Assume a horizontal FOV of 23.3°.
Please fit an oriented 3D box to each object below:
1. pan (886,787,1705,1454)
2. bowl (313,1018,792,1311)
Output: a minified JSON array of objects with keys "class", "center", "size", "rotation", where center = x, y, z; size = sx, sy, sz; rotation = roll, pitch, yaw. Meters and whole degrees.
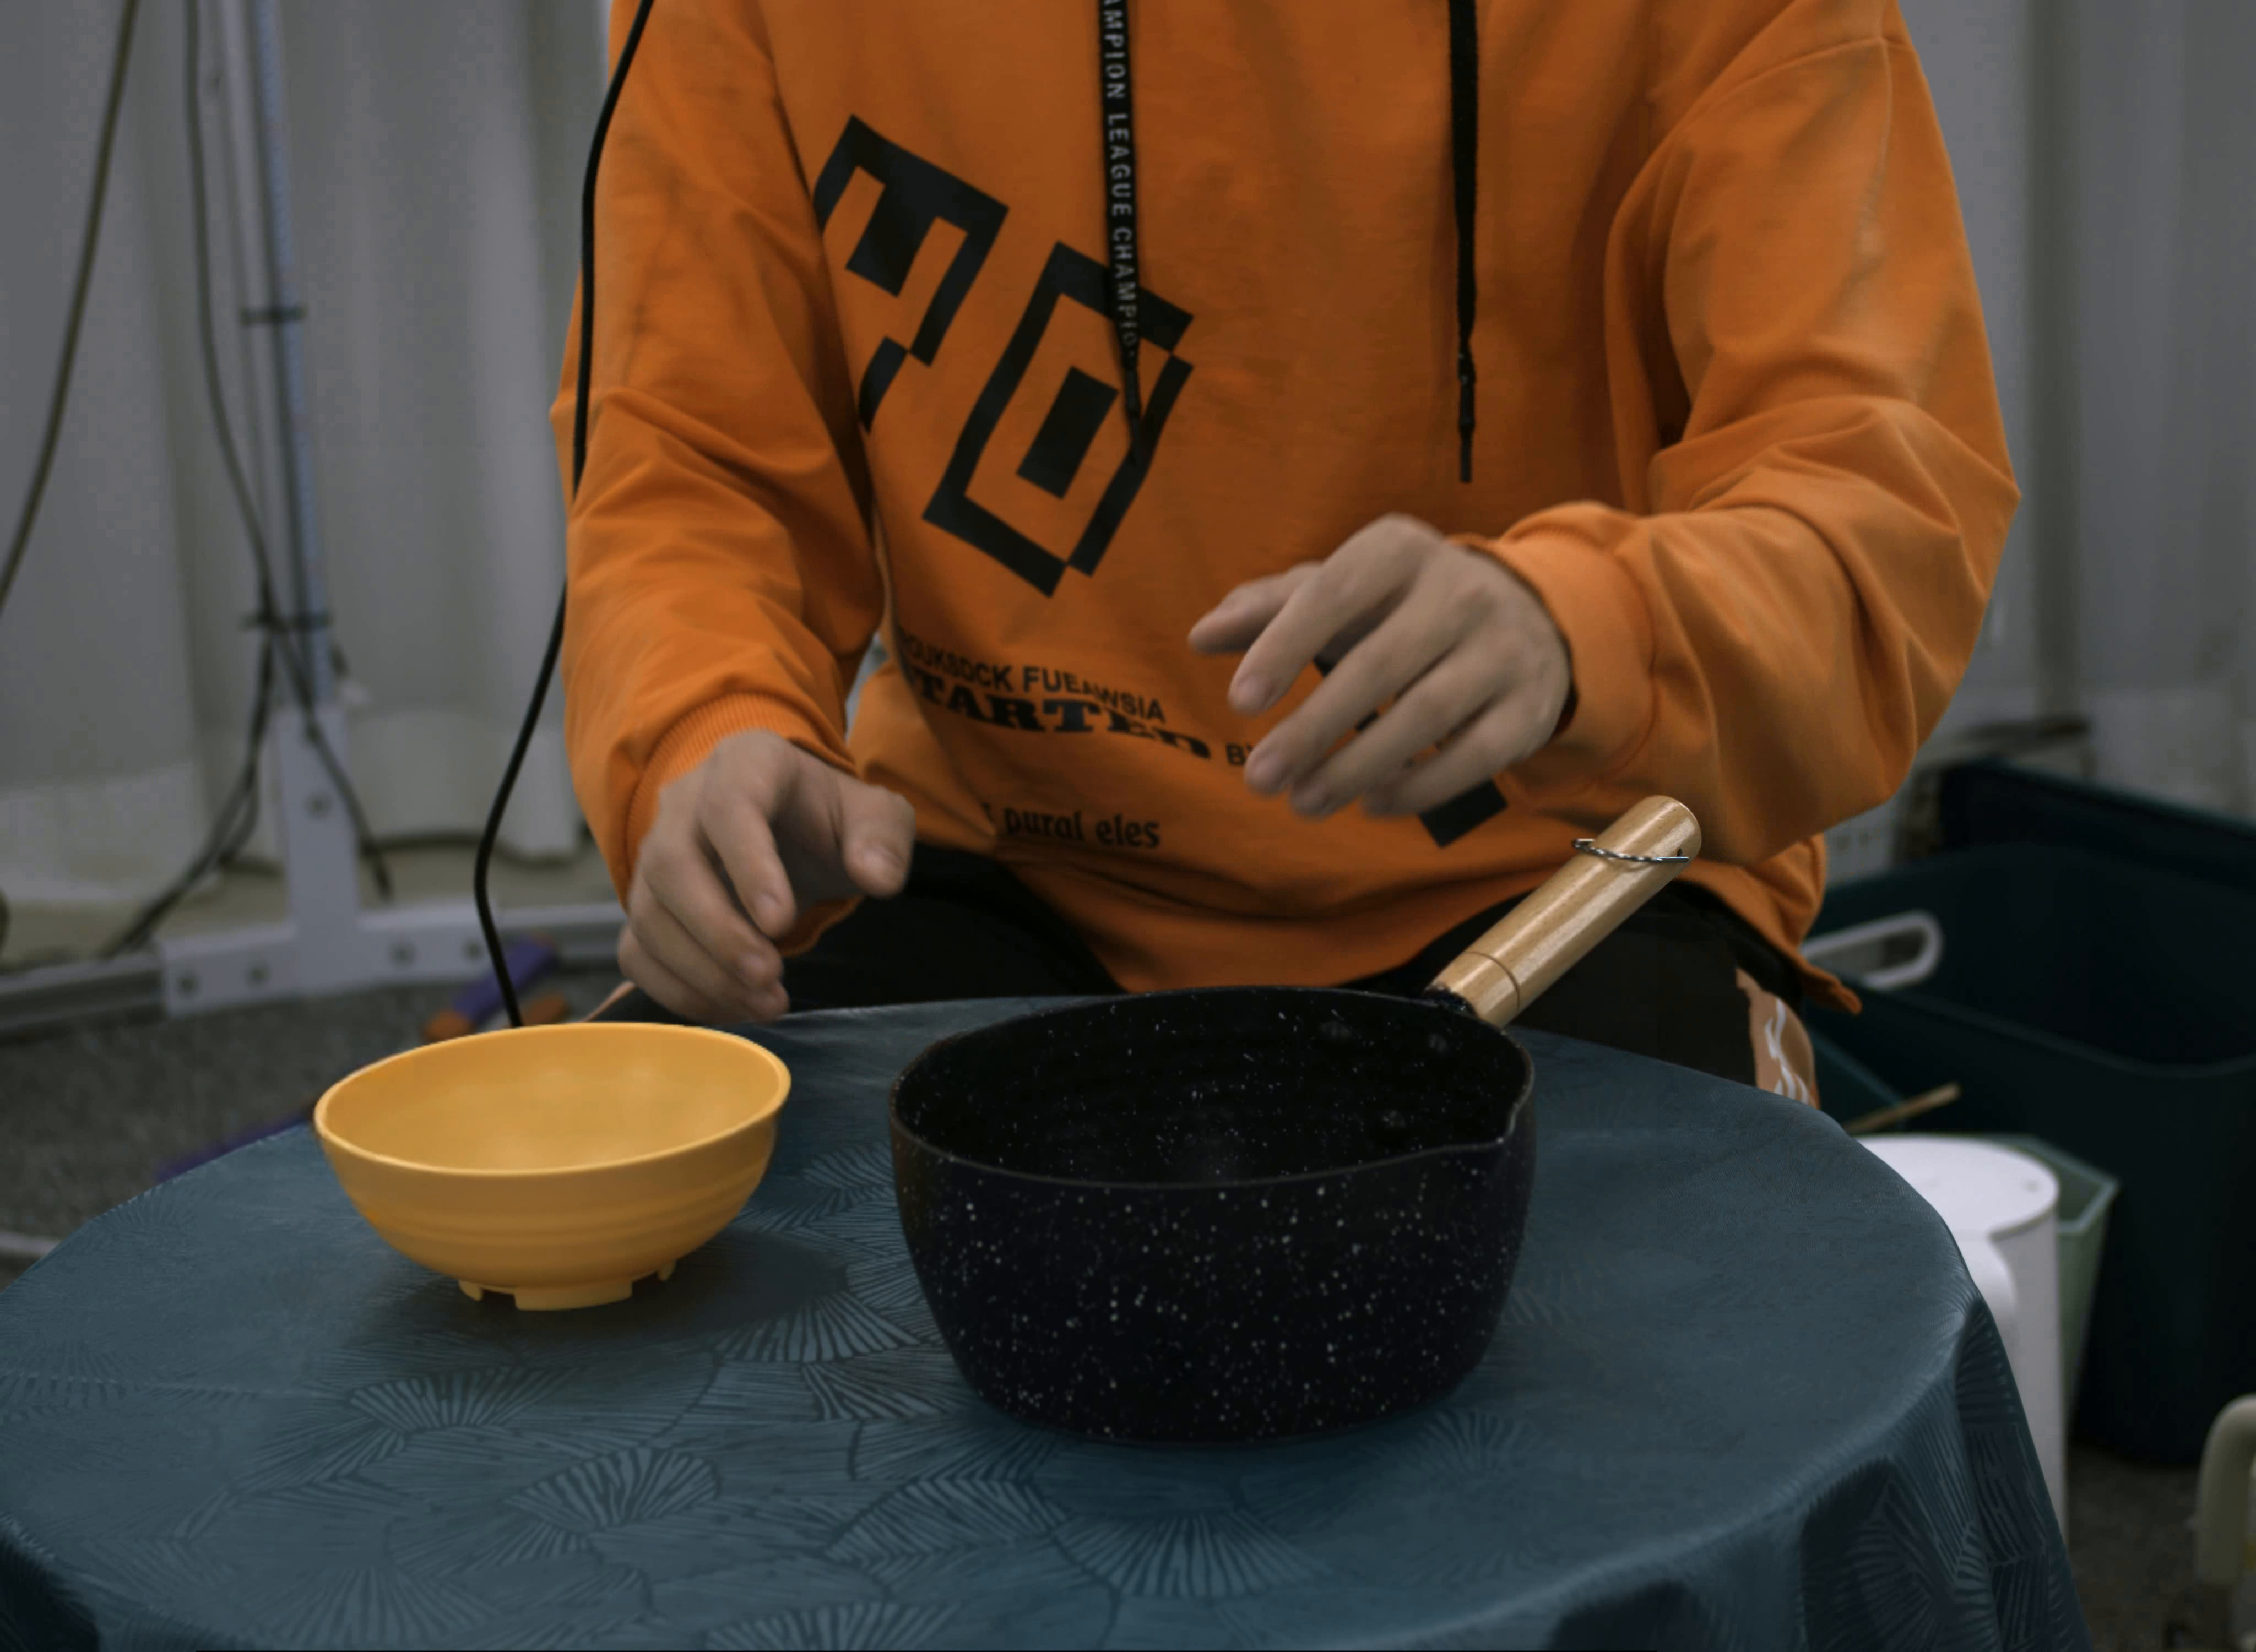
[{"class":"pan","center":[0.072,0.082,1.616],"size":[0.208,0.108,0.343],"rotation":[6,19,36]},{"class":"bowl","center":[-0.173,0.108,1.661],"size":[0.145,0.060,0.146],"rotation":[-1,16,0]}]
